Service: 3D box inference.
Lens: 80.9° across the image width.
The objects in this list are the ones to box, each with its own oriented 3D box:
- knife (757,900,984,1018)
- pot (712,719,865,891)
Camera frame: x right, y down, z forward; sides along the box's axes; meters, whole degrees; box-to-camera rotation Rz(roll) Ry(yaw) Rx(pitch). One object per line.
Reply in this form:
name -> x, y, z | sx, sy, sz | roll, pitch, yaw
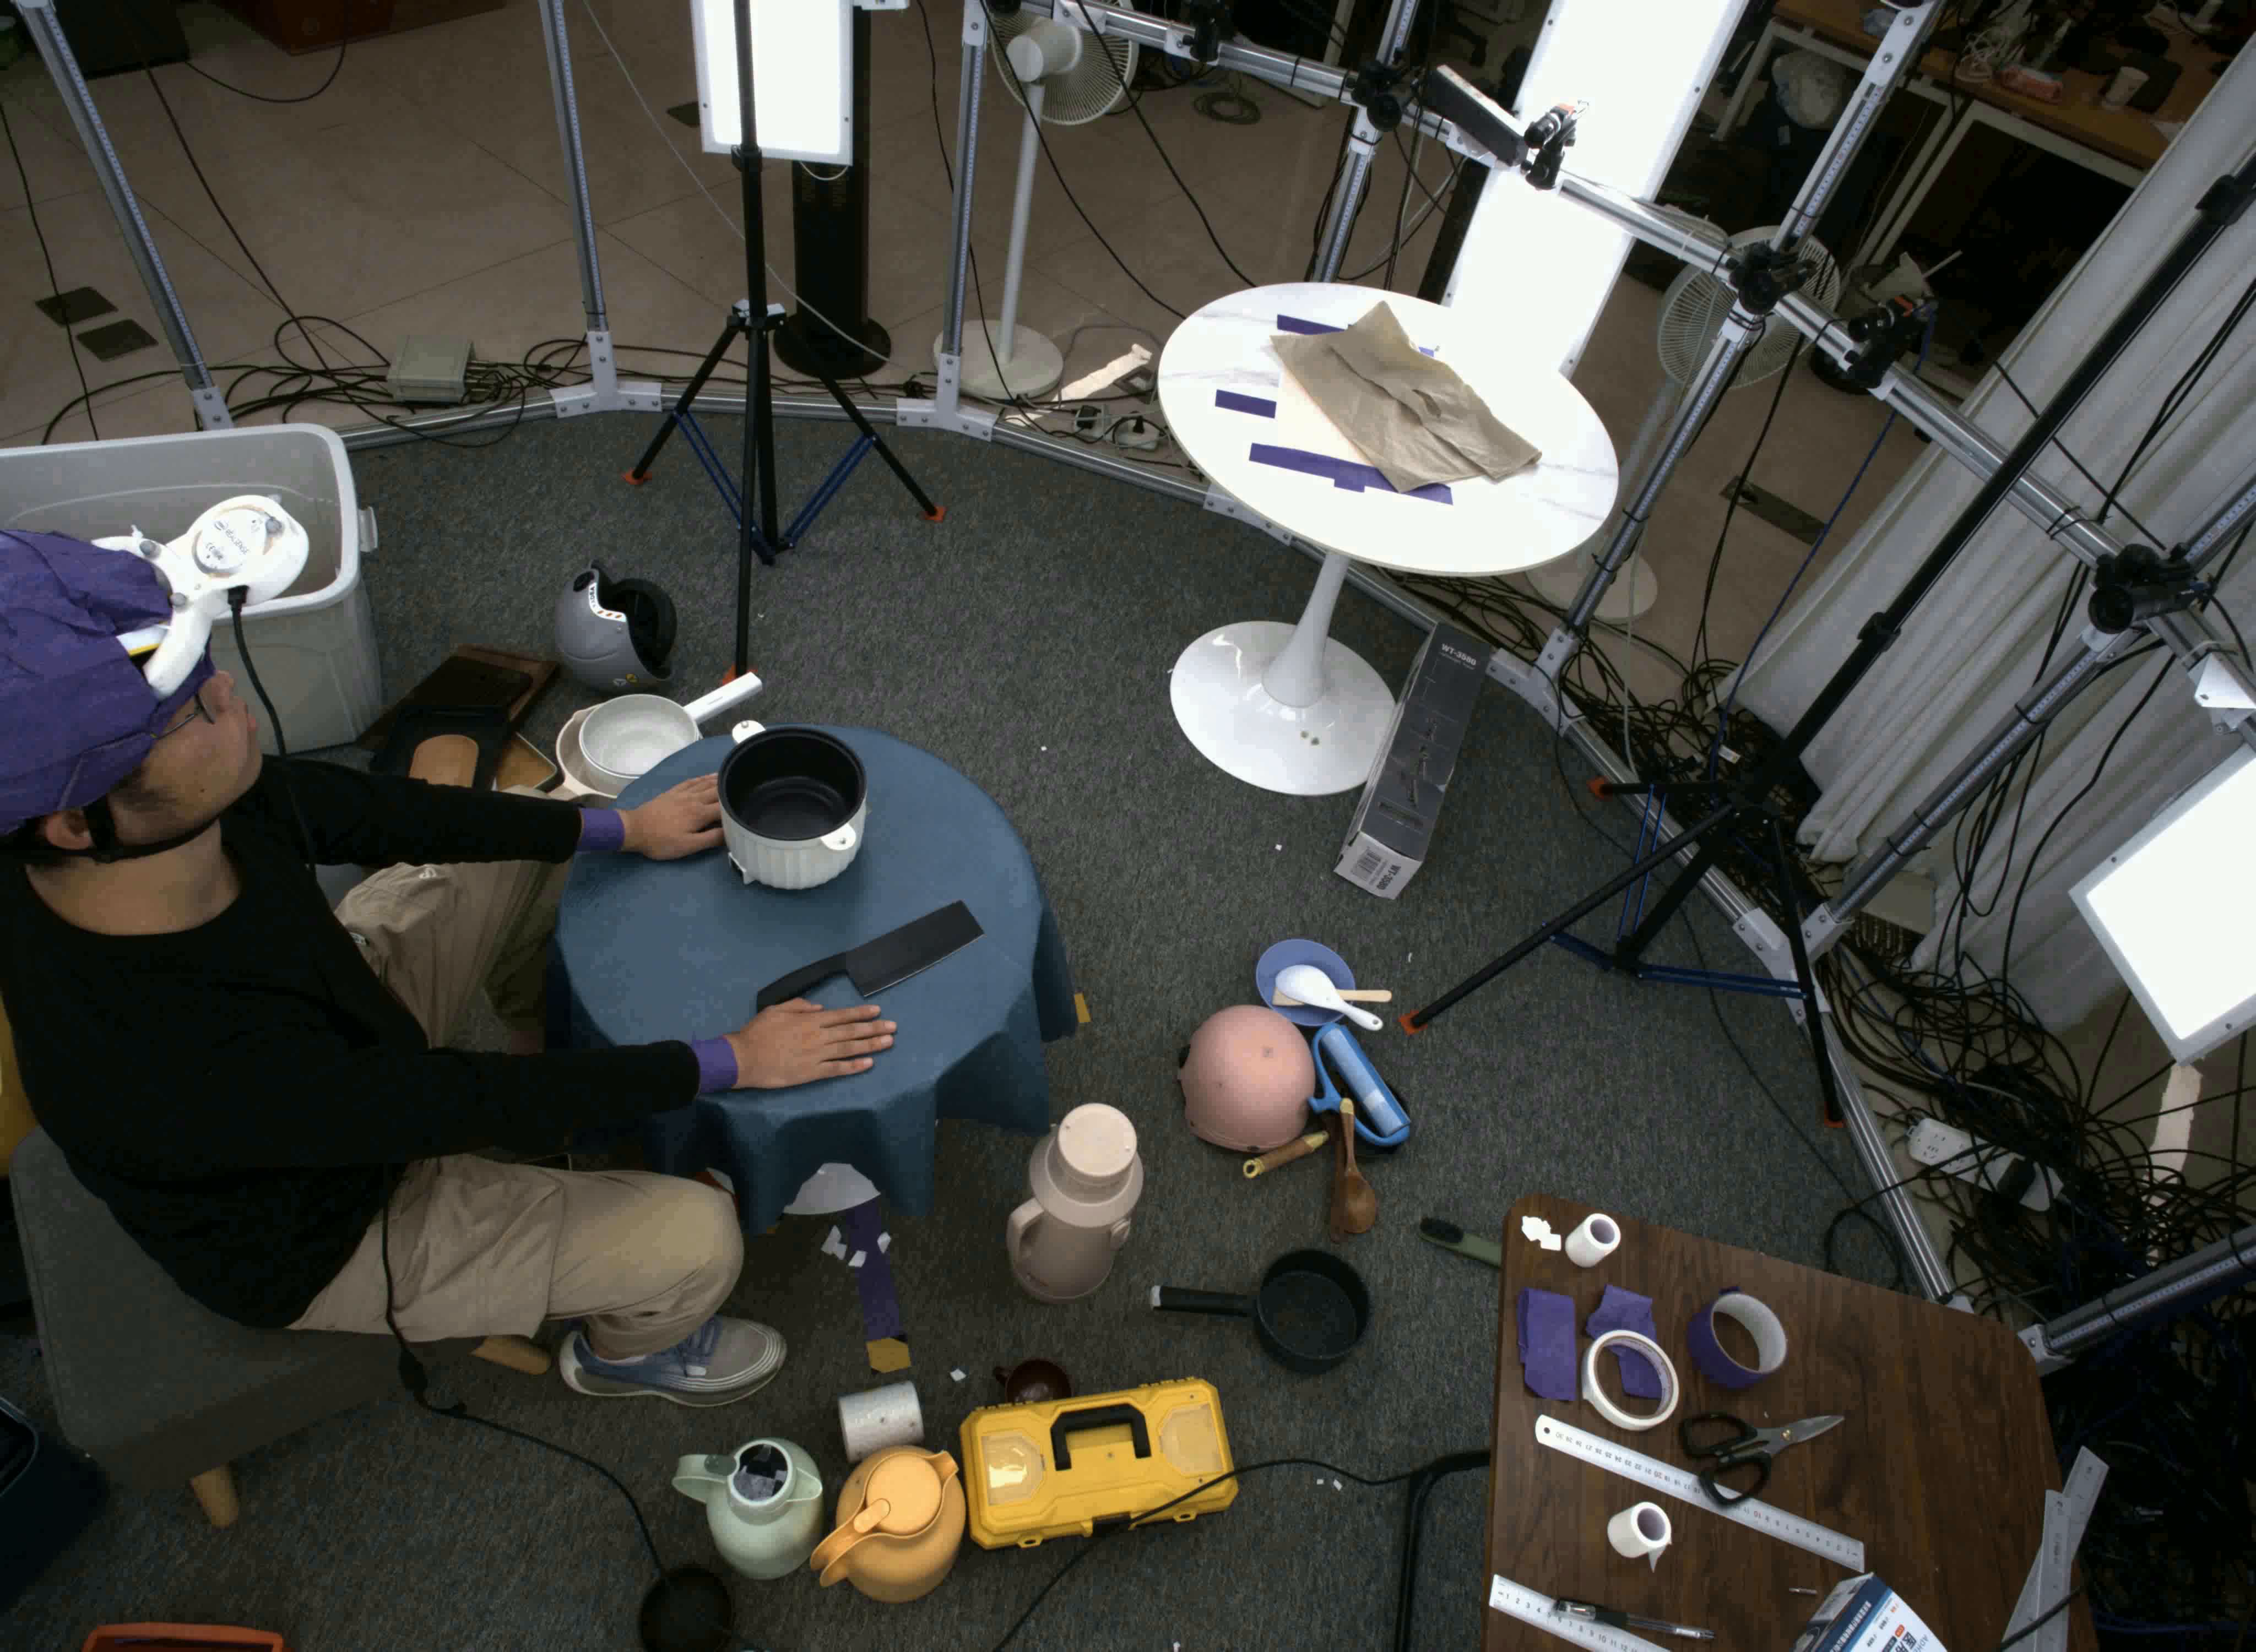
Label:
knife -> -0.319, 0.168, 1.615 | 0.304, 0.021, 0.079 | -20, 63, -29
pot -> -0.423, -0.021, 1.648 | 0.191, 0.145, 0.235 | -35, 69, -29
